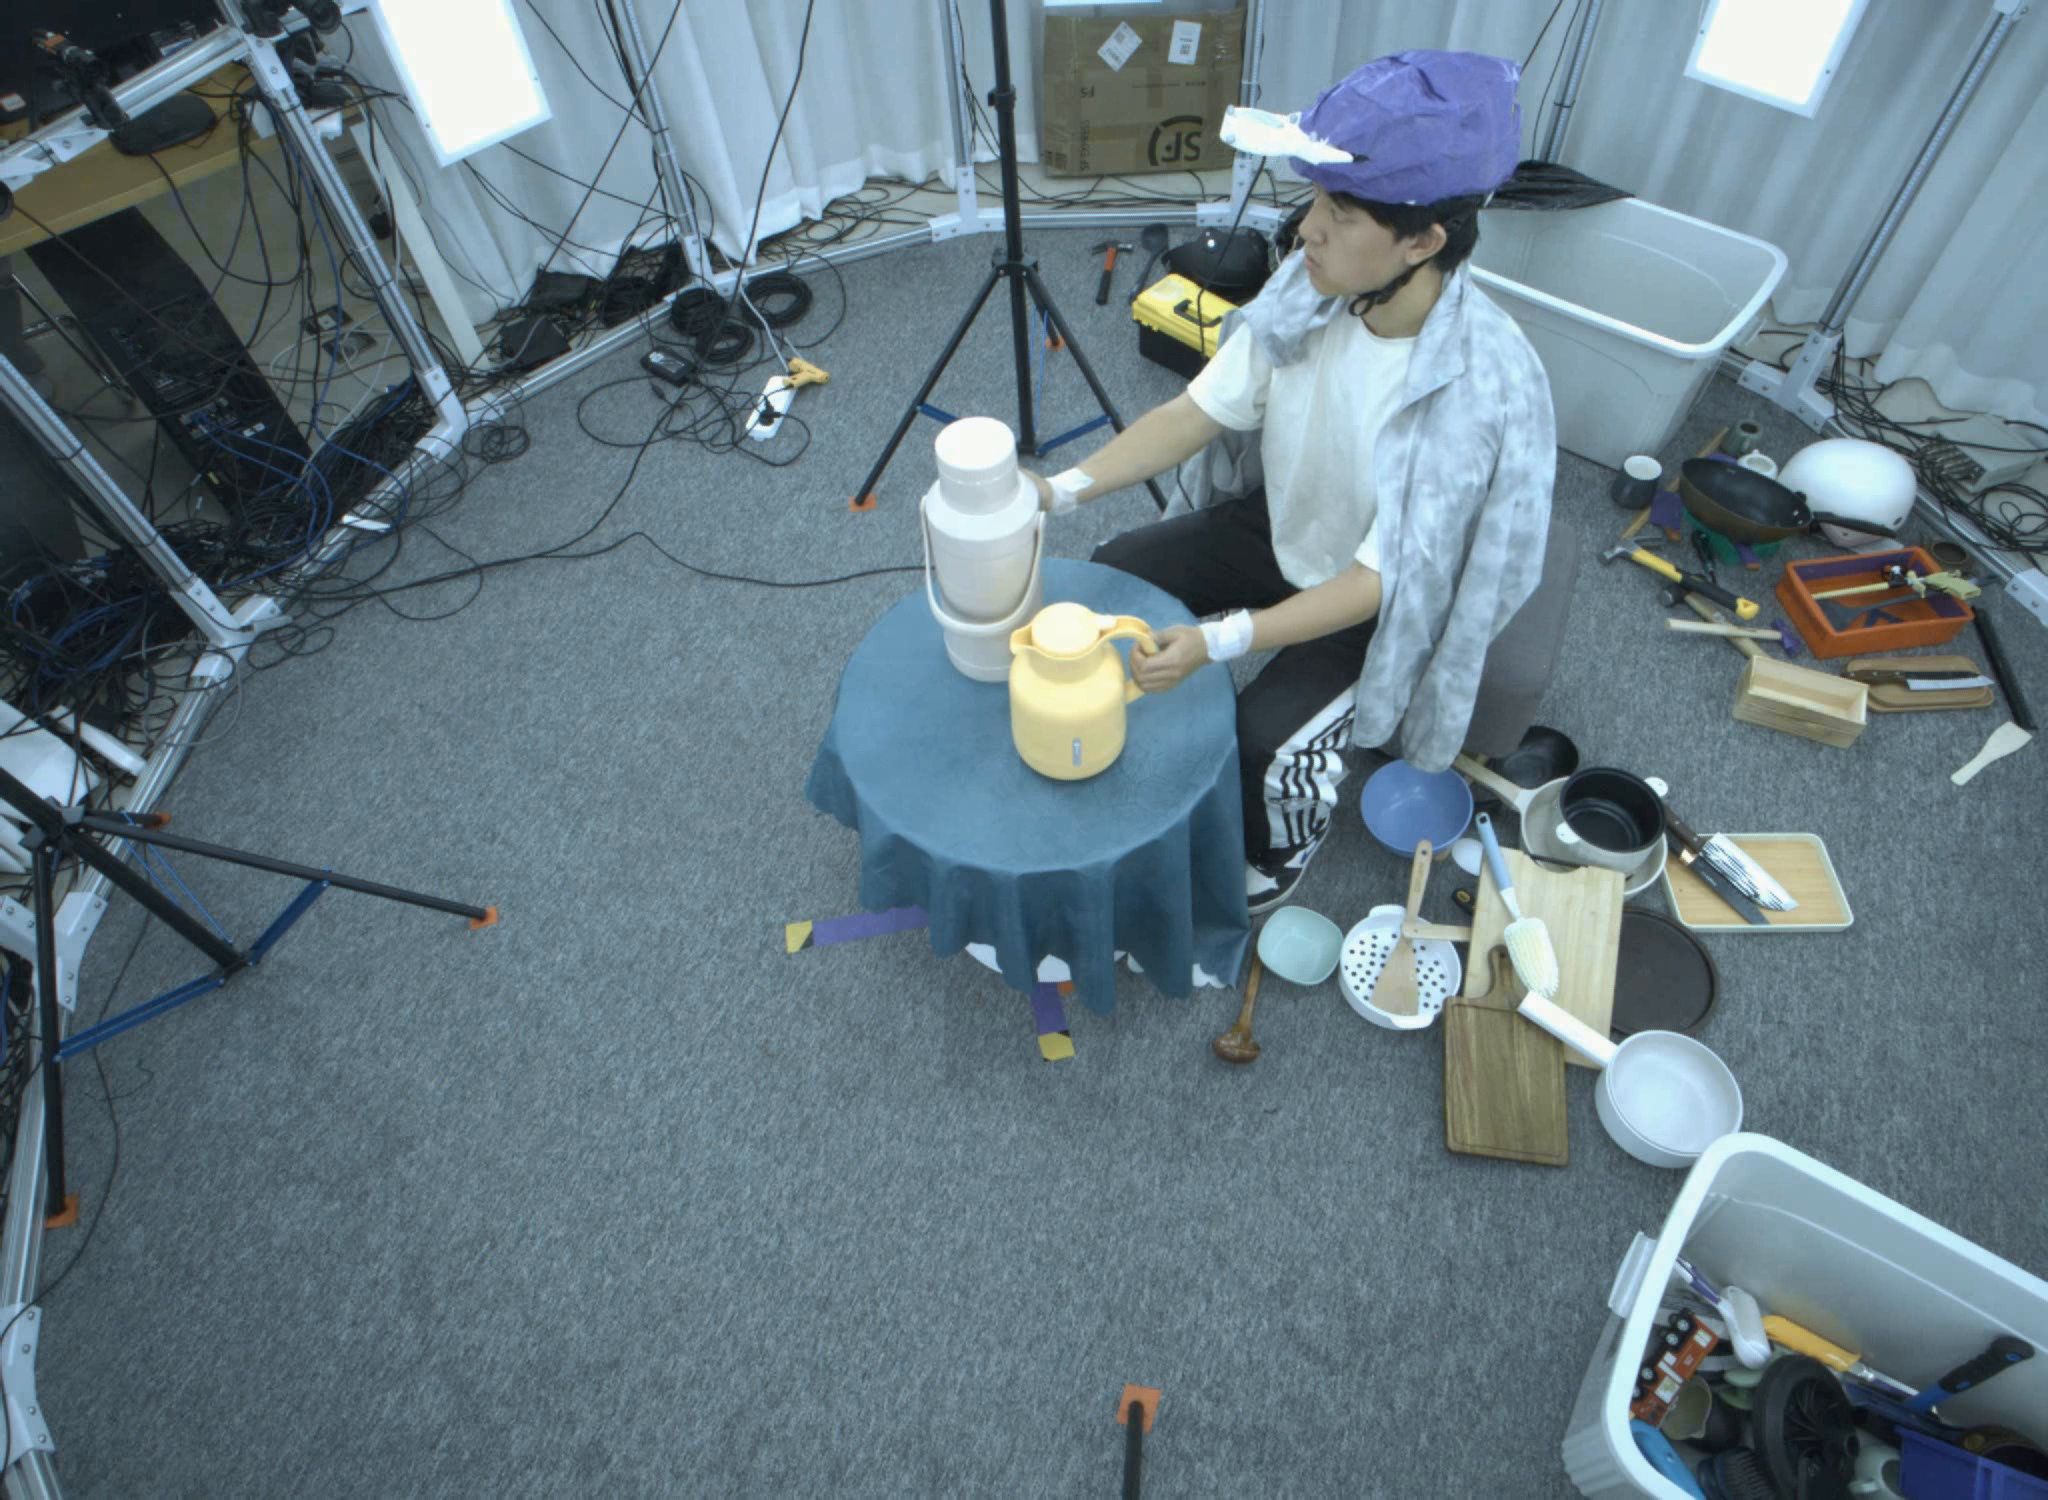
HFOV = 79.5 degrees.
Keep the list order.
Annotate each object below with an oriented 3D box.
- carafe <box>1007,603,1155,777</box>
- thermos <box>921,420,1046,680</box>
[{"bbox_3d":[0.078,-0.090,1.689,0.203,0.263,0.161,-9,57,-1],"label":"carafe"},{"bbox_3d":[-0.048,-0.294,1.754,0.174,0.411,0.206,10,56,12],"label":"thermos"}]
